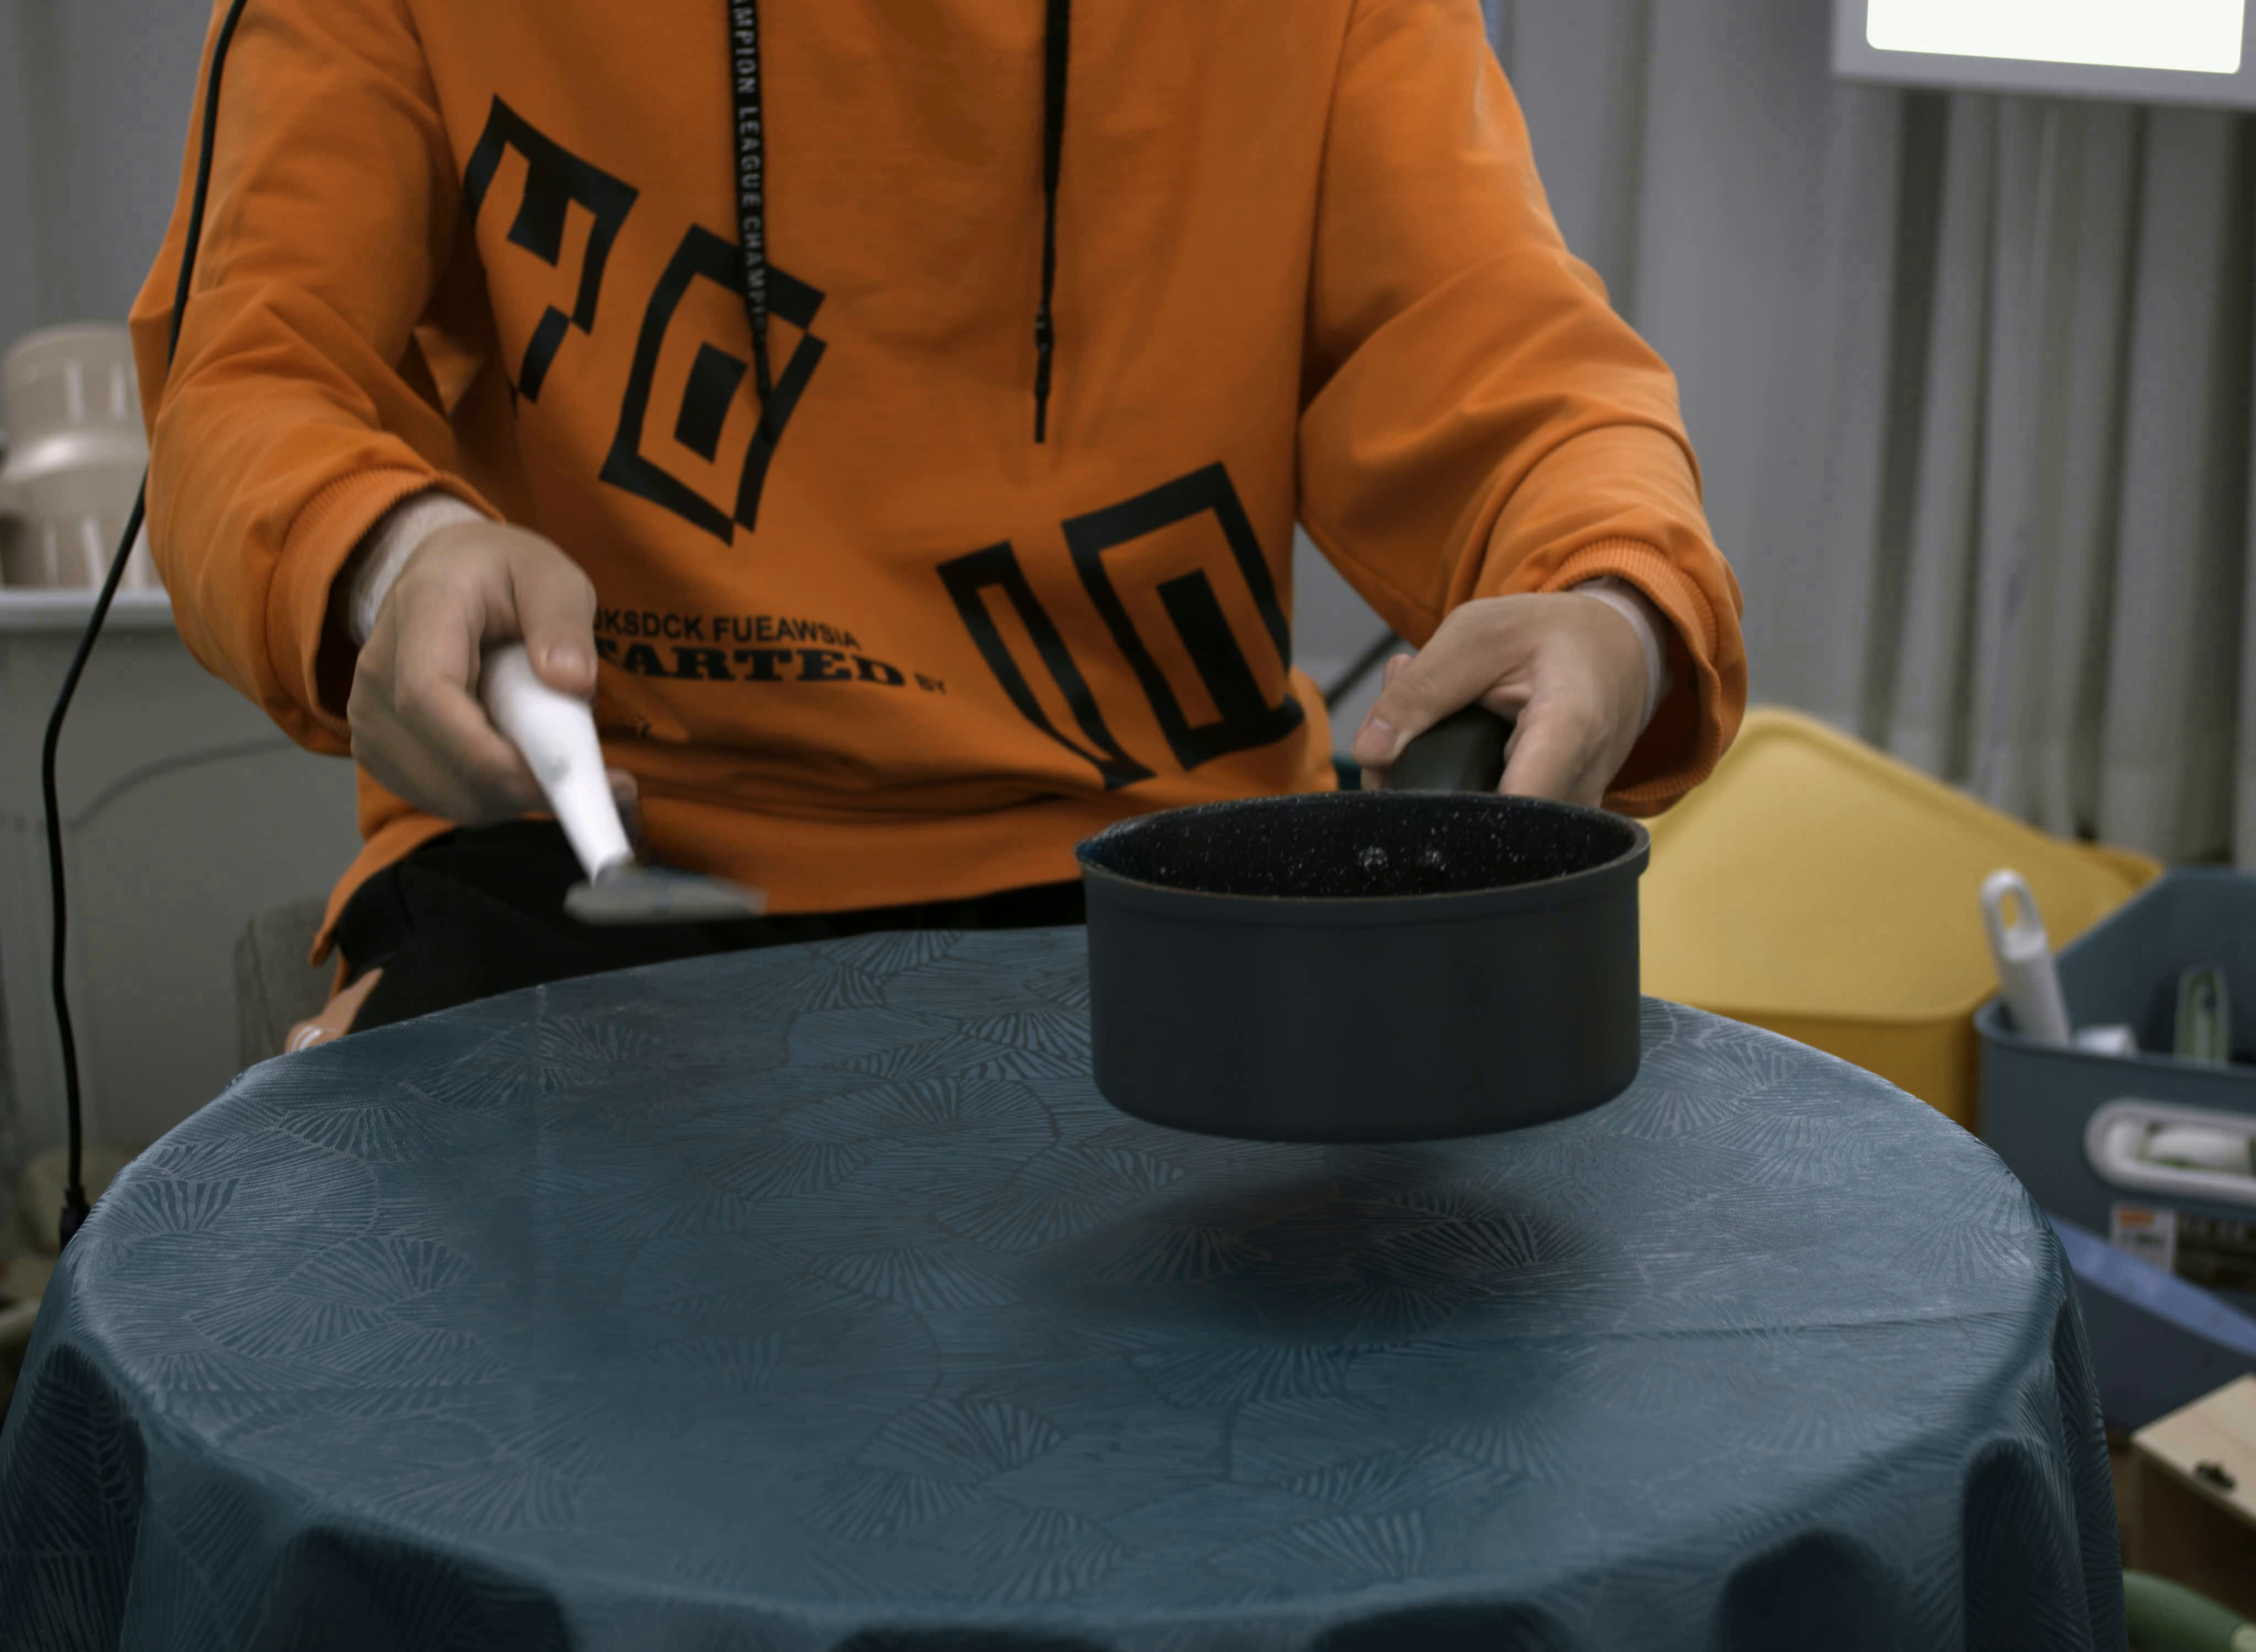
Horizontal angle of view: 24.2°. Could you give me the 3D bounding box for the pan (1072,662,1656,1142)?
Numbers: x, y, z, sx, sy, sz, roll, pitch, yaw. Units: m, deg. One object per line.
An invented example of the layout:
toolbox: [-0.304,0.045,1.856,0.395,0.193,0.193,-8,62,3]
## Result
pan: [0.089,0.021,1.629,0.170,0.087,0.328,1,13,14]

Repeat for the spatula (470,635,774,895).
spatula: [-0.160,-0.011,1.583,0.059,0.032,0.285,2,14,-17]
